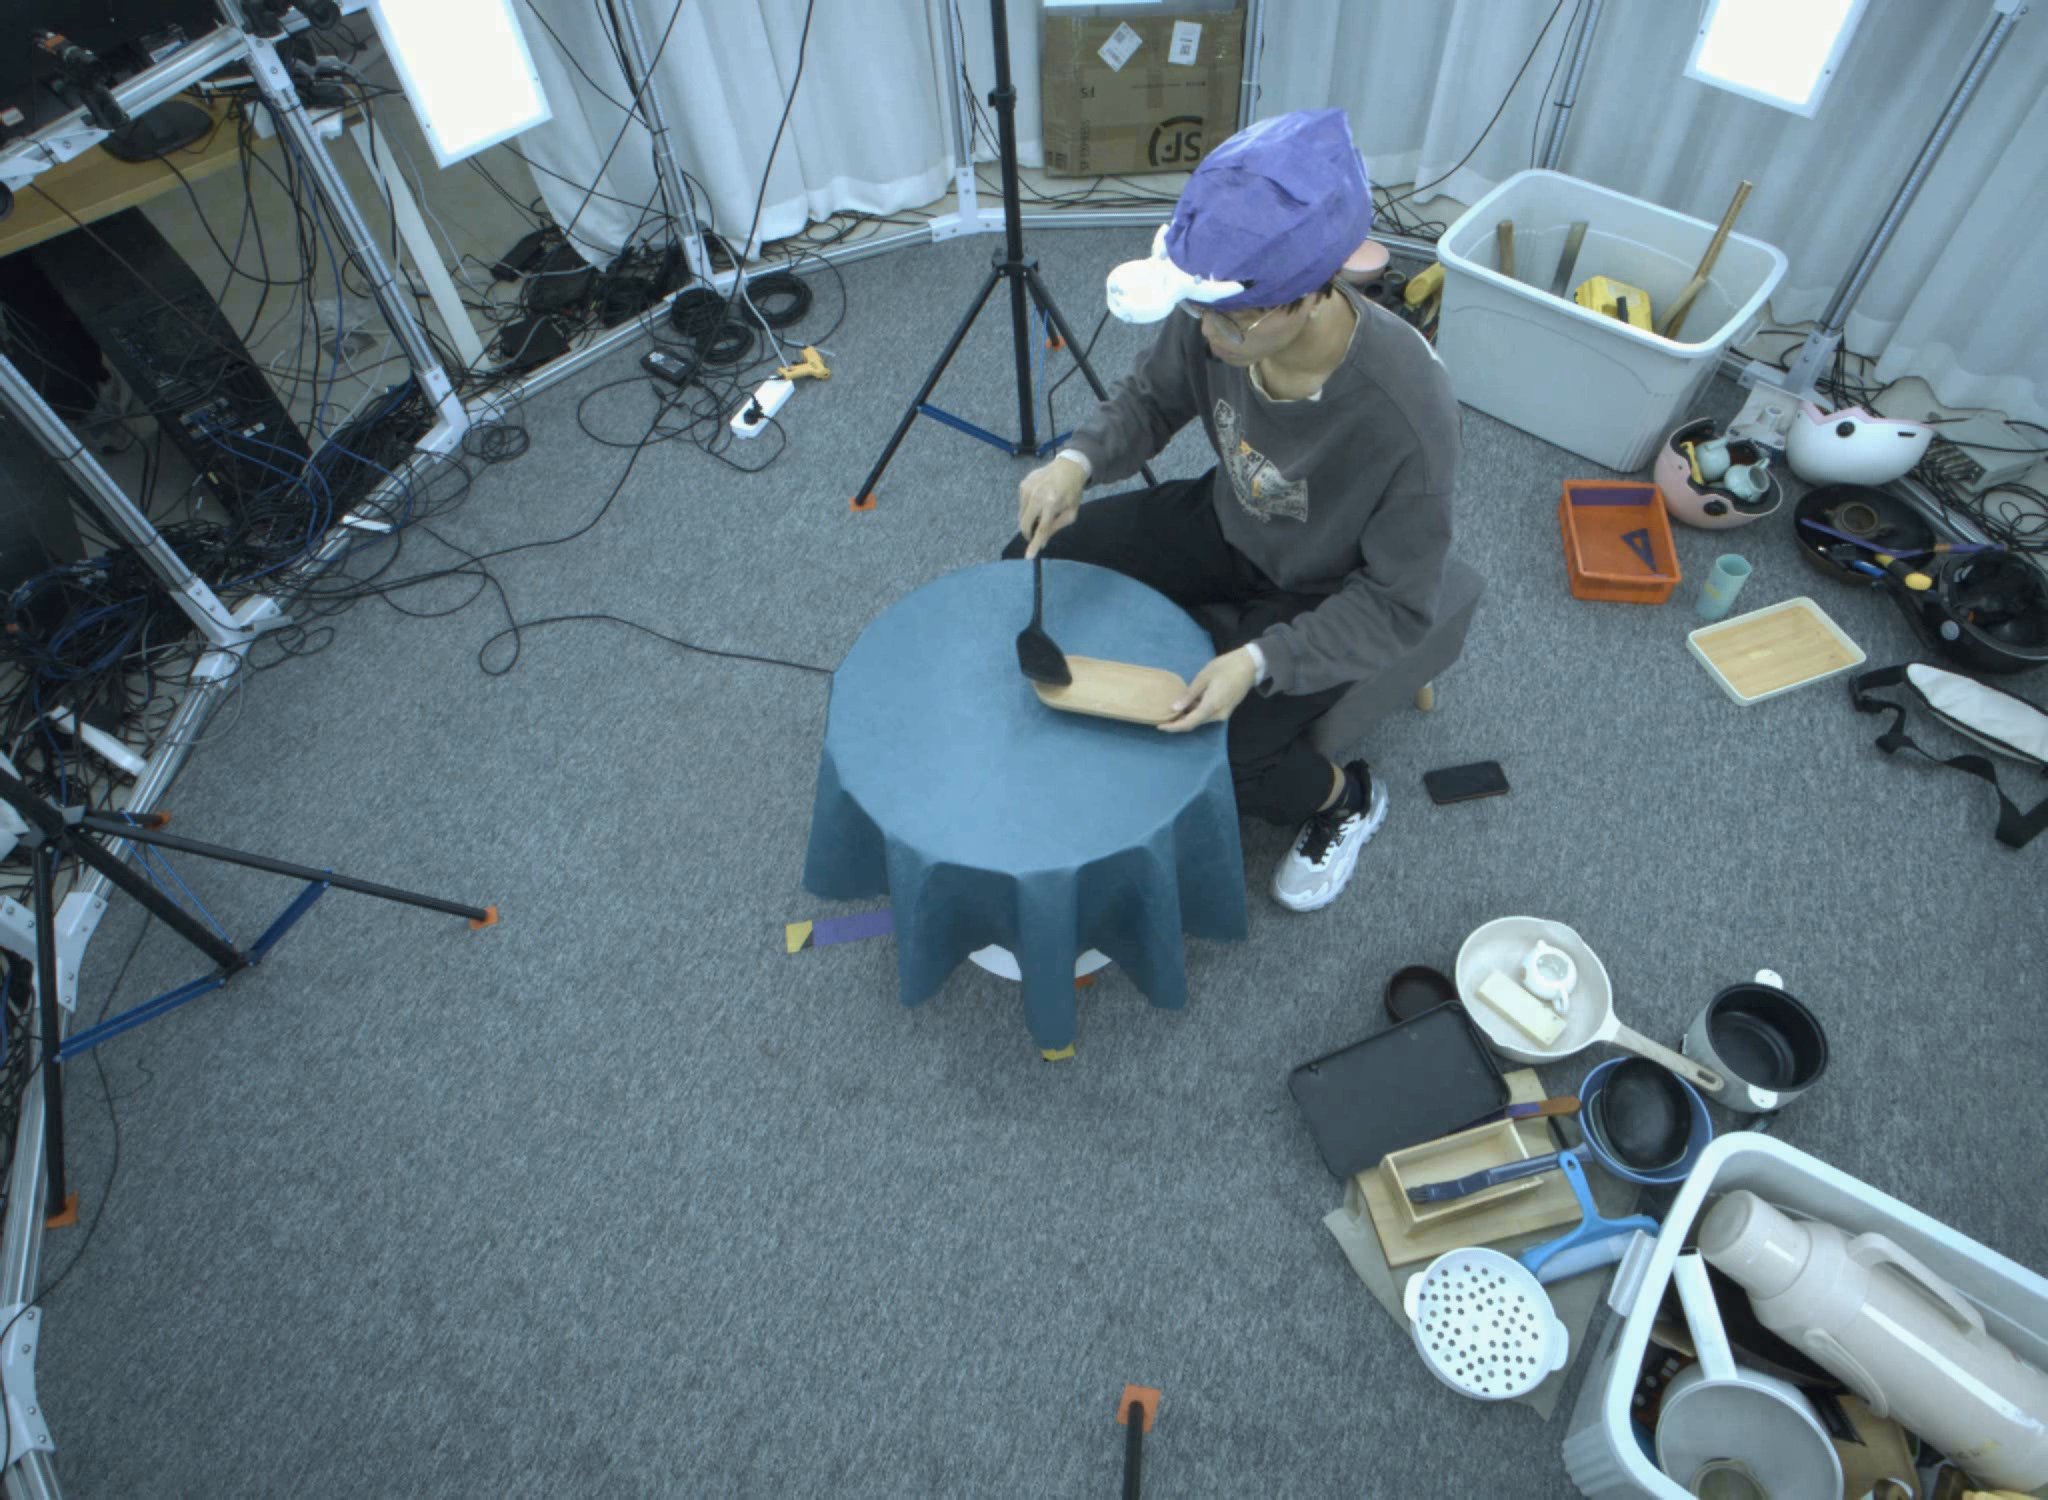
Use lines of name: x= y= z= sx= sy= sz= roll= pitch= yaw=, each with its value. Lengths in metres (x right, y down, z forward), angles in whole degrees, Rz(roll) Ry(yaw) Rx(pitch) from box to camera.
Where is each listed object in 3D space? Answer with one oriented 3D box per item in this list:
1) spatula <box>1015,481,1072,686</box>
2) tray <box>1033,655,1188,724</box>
spatula: x=0.024 y=-0.253 z=1.827 sx=0.102 sy=0.039 sz=0.325 roll=9 pitch=77 yaw=-41
tray: x=0.125 y=-0.088 z=1.807 sx=0.229 sy=0.020 sz=0.101 roll=10 pitch=51 yaw=12
